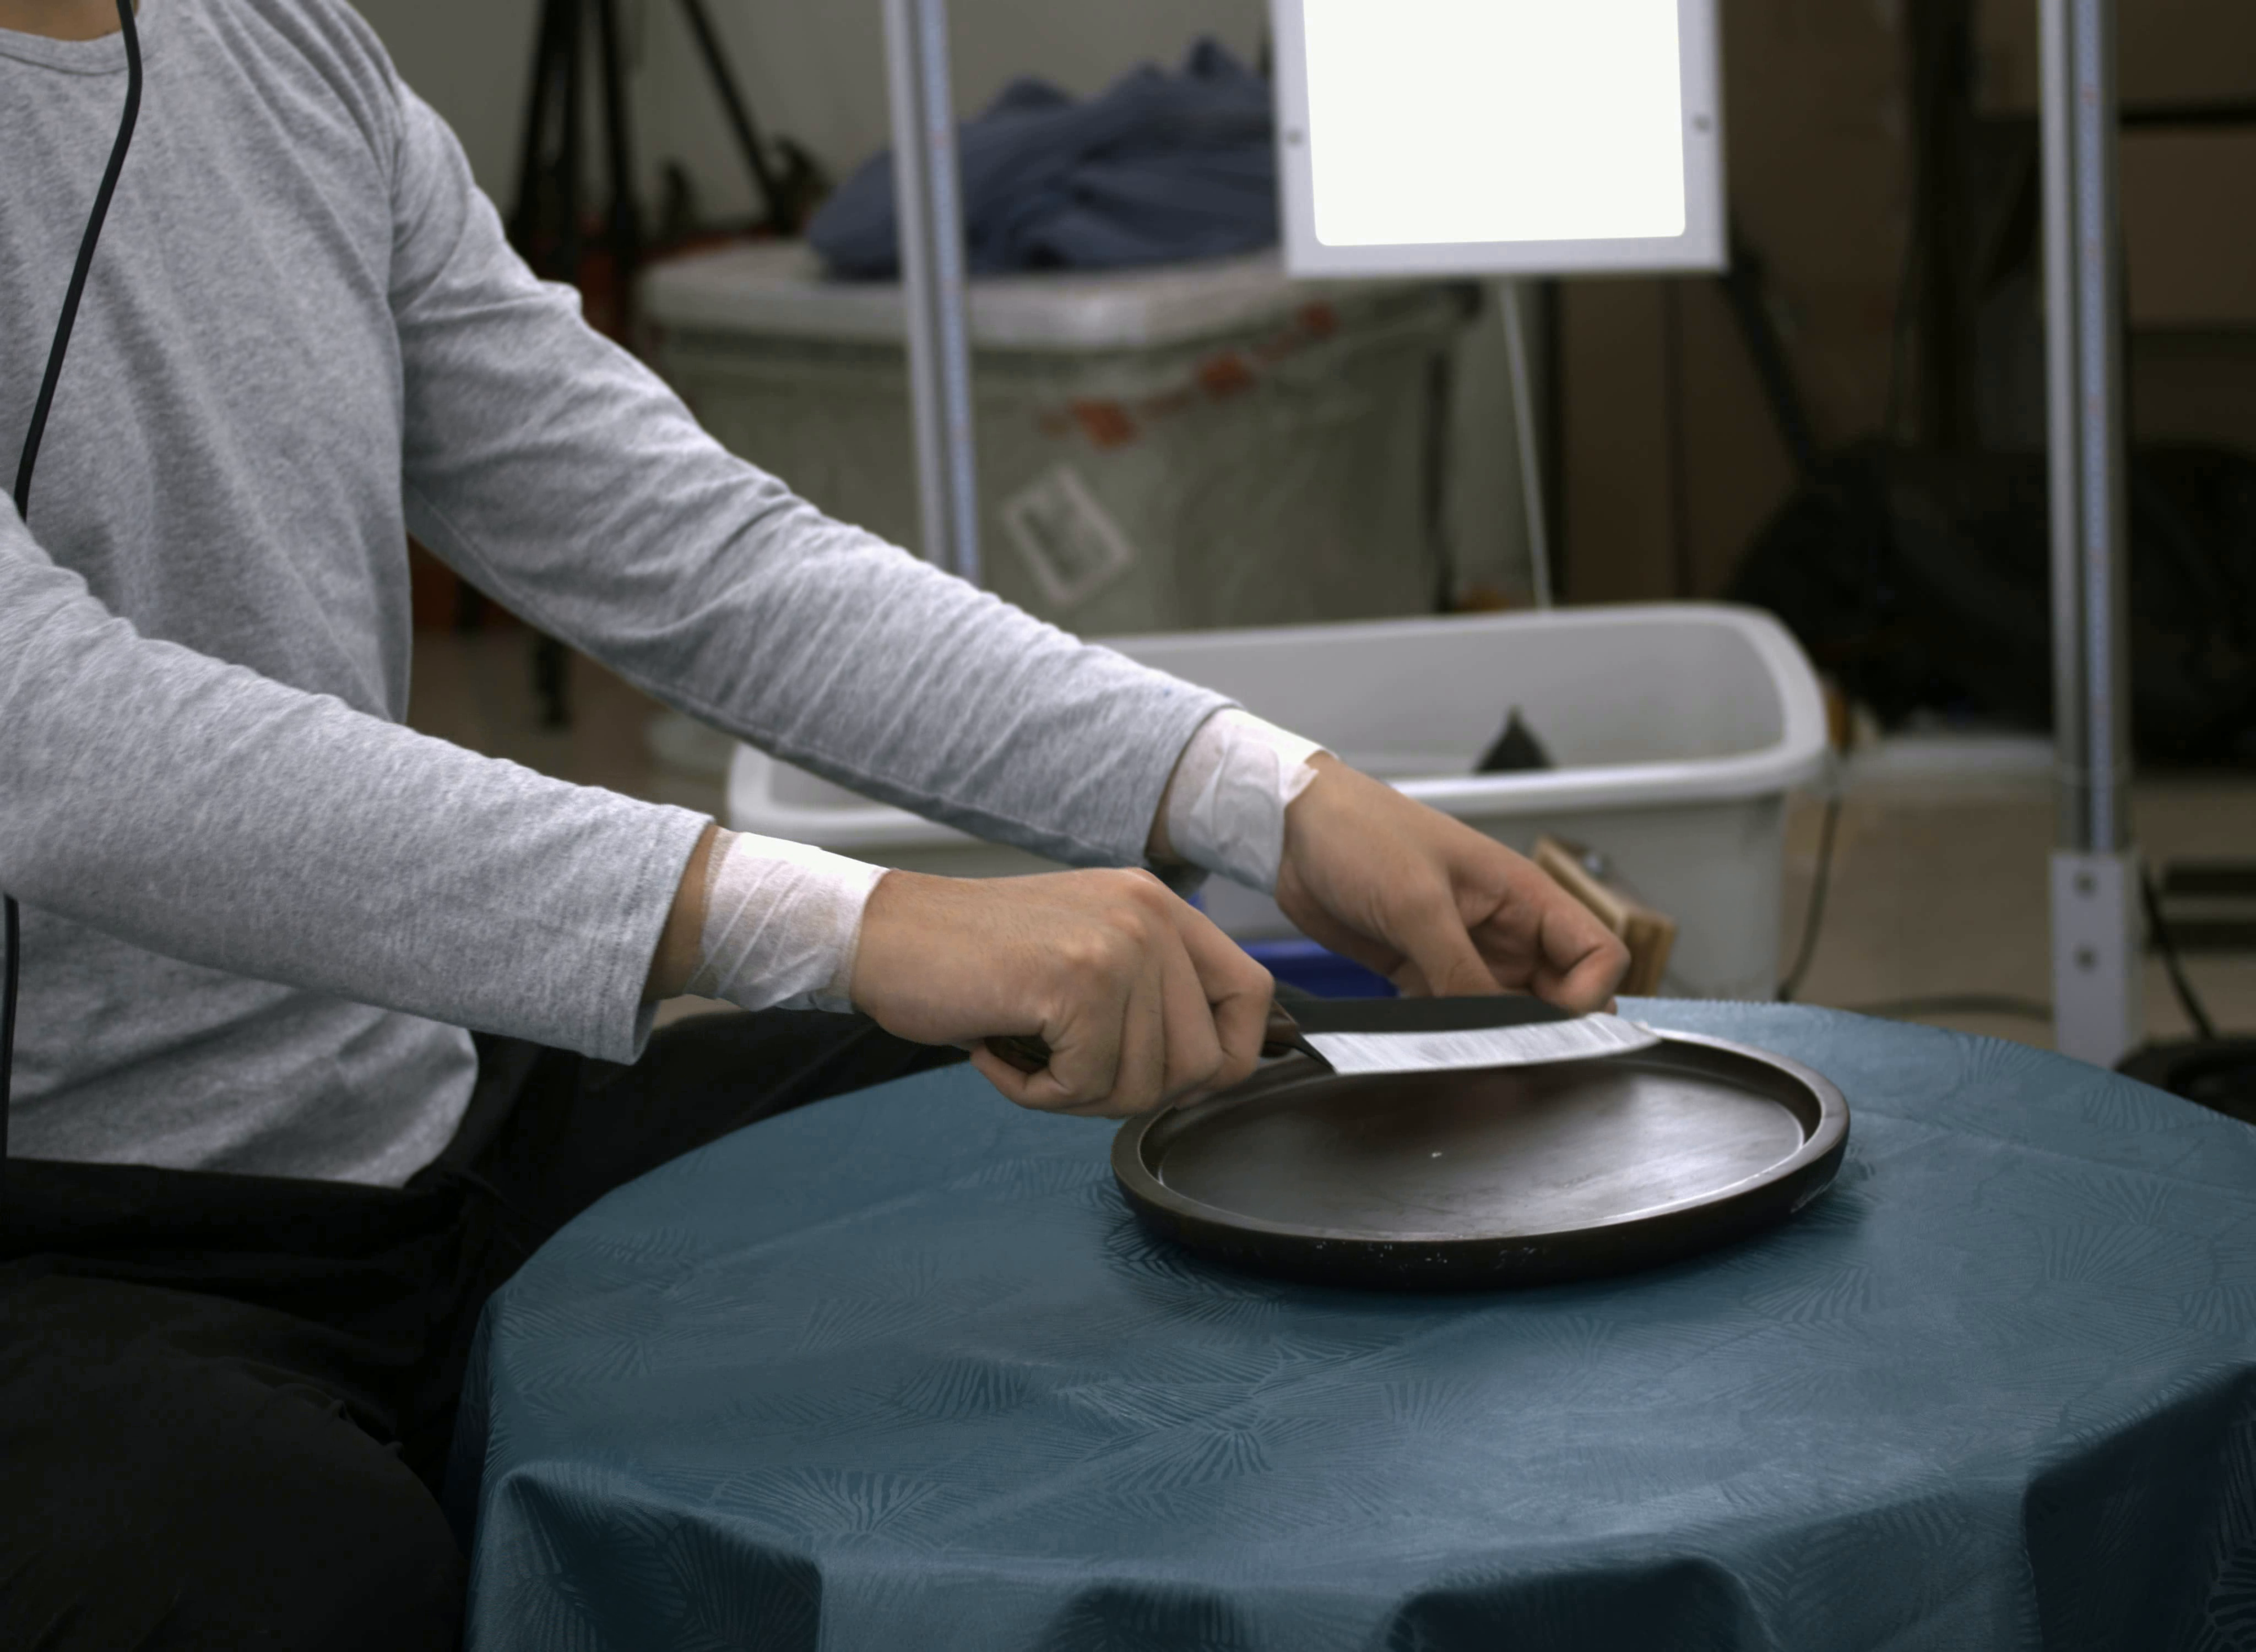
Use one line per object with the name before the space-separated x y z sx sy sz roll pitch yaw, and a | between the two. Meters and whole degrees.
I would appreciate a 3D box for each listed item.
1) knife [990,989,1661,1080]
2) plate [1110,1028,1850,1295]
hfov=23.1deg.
knife | 0.071 0.068 1.793 0.282 0.020 0.051 2 31 -39
plate | 0.120 0.111 1.872 0.254 0.029 0.254 -7 15 0
